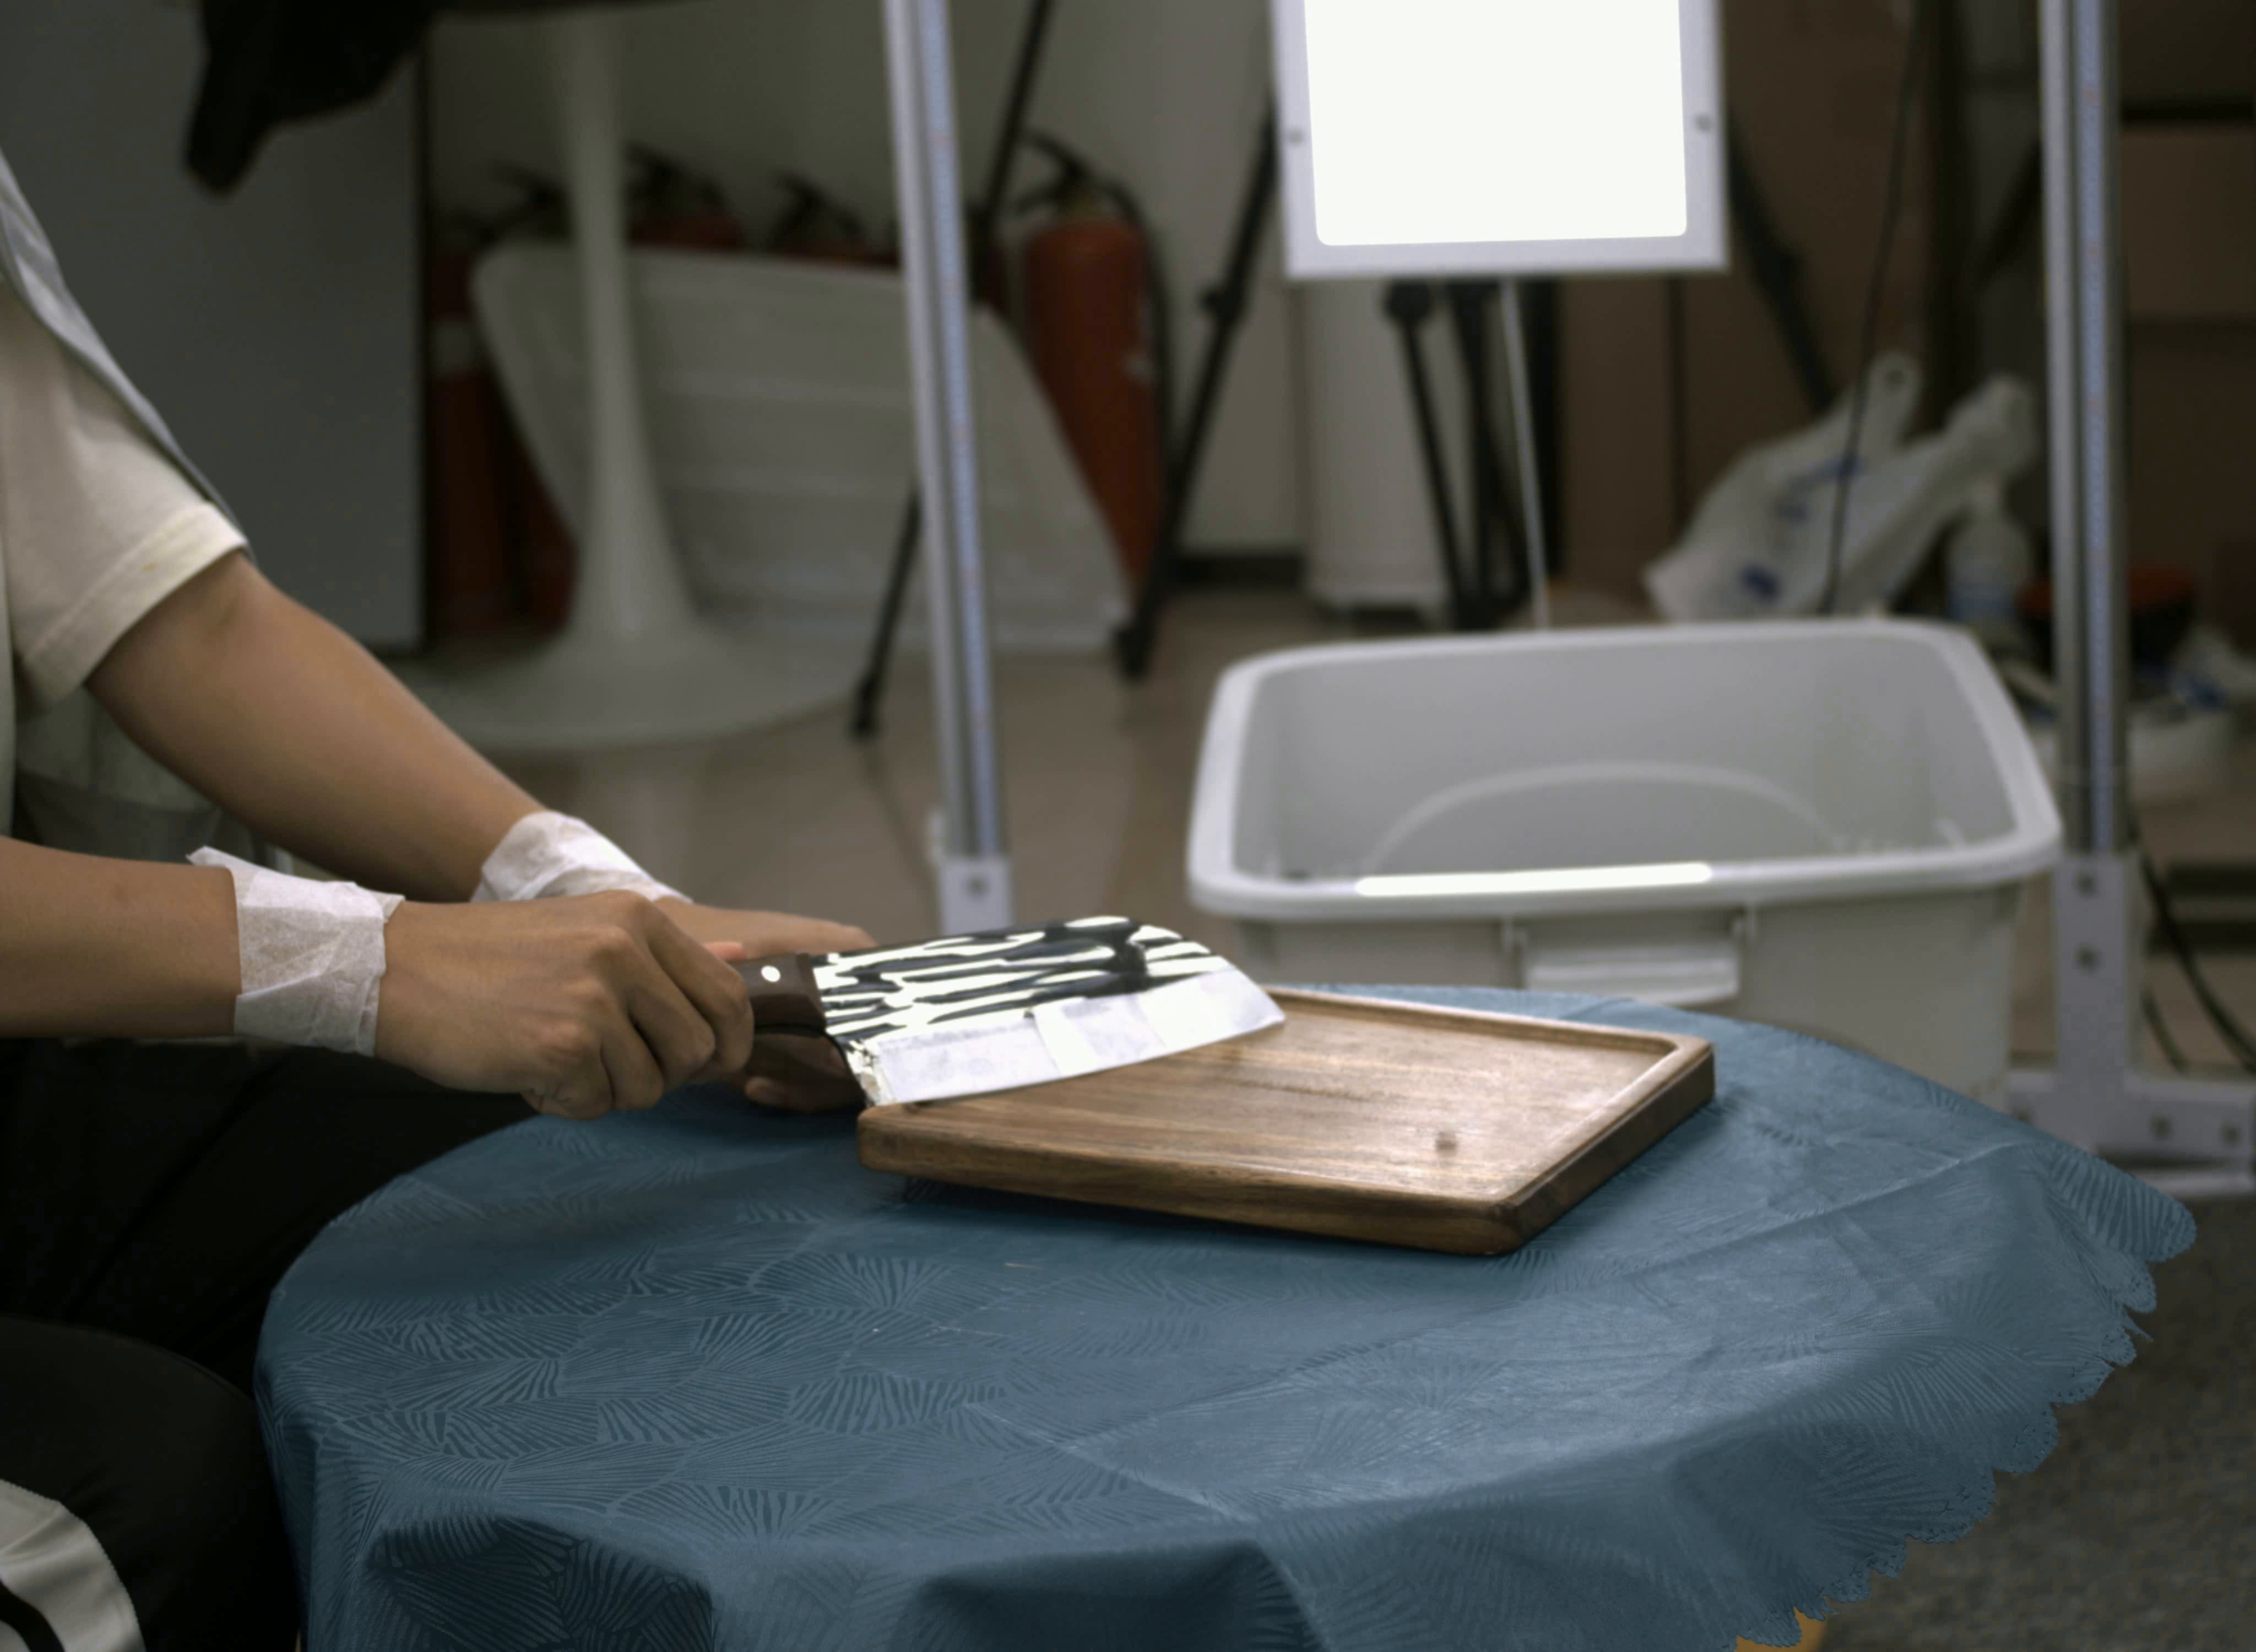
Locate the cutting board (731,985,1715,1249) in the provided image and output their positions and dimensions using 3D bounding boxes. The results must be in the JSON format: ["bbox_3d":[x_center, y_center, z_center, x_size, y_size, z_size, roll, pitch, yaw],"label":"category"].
[{"bbox_3d":[0.014,0.092,1.952,0.358,0.023,0.196,5,17,29],"label":"cutting board"}]

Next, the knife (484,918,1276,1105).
[{"bbox_3d":[-0.082,0.068,1.942,0.293,0.024,0.068,-7,53,-28],"label":"knife"}]
